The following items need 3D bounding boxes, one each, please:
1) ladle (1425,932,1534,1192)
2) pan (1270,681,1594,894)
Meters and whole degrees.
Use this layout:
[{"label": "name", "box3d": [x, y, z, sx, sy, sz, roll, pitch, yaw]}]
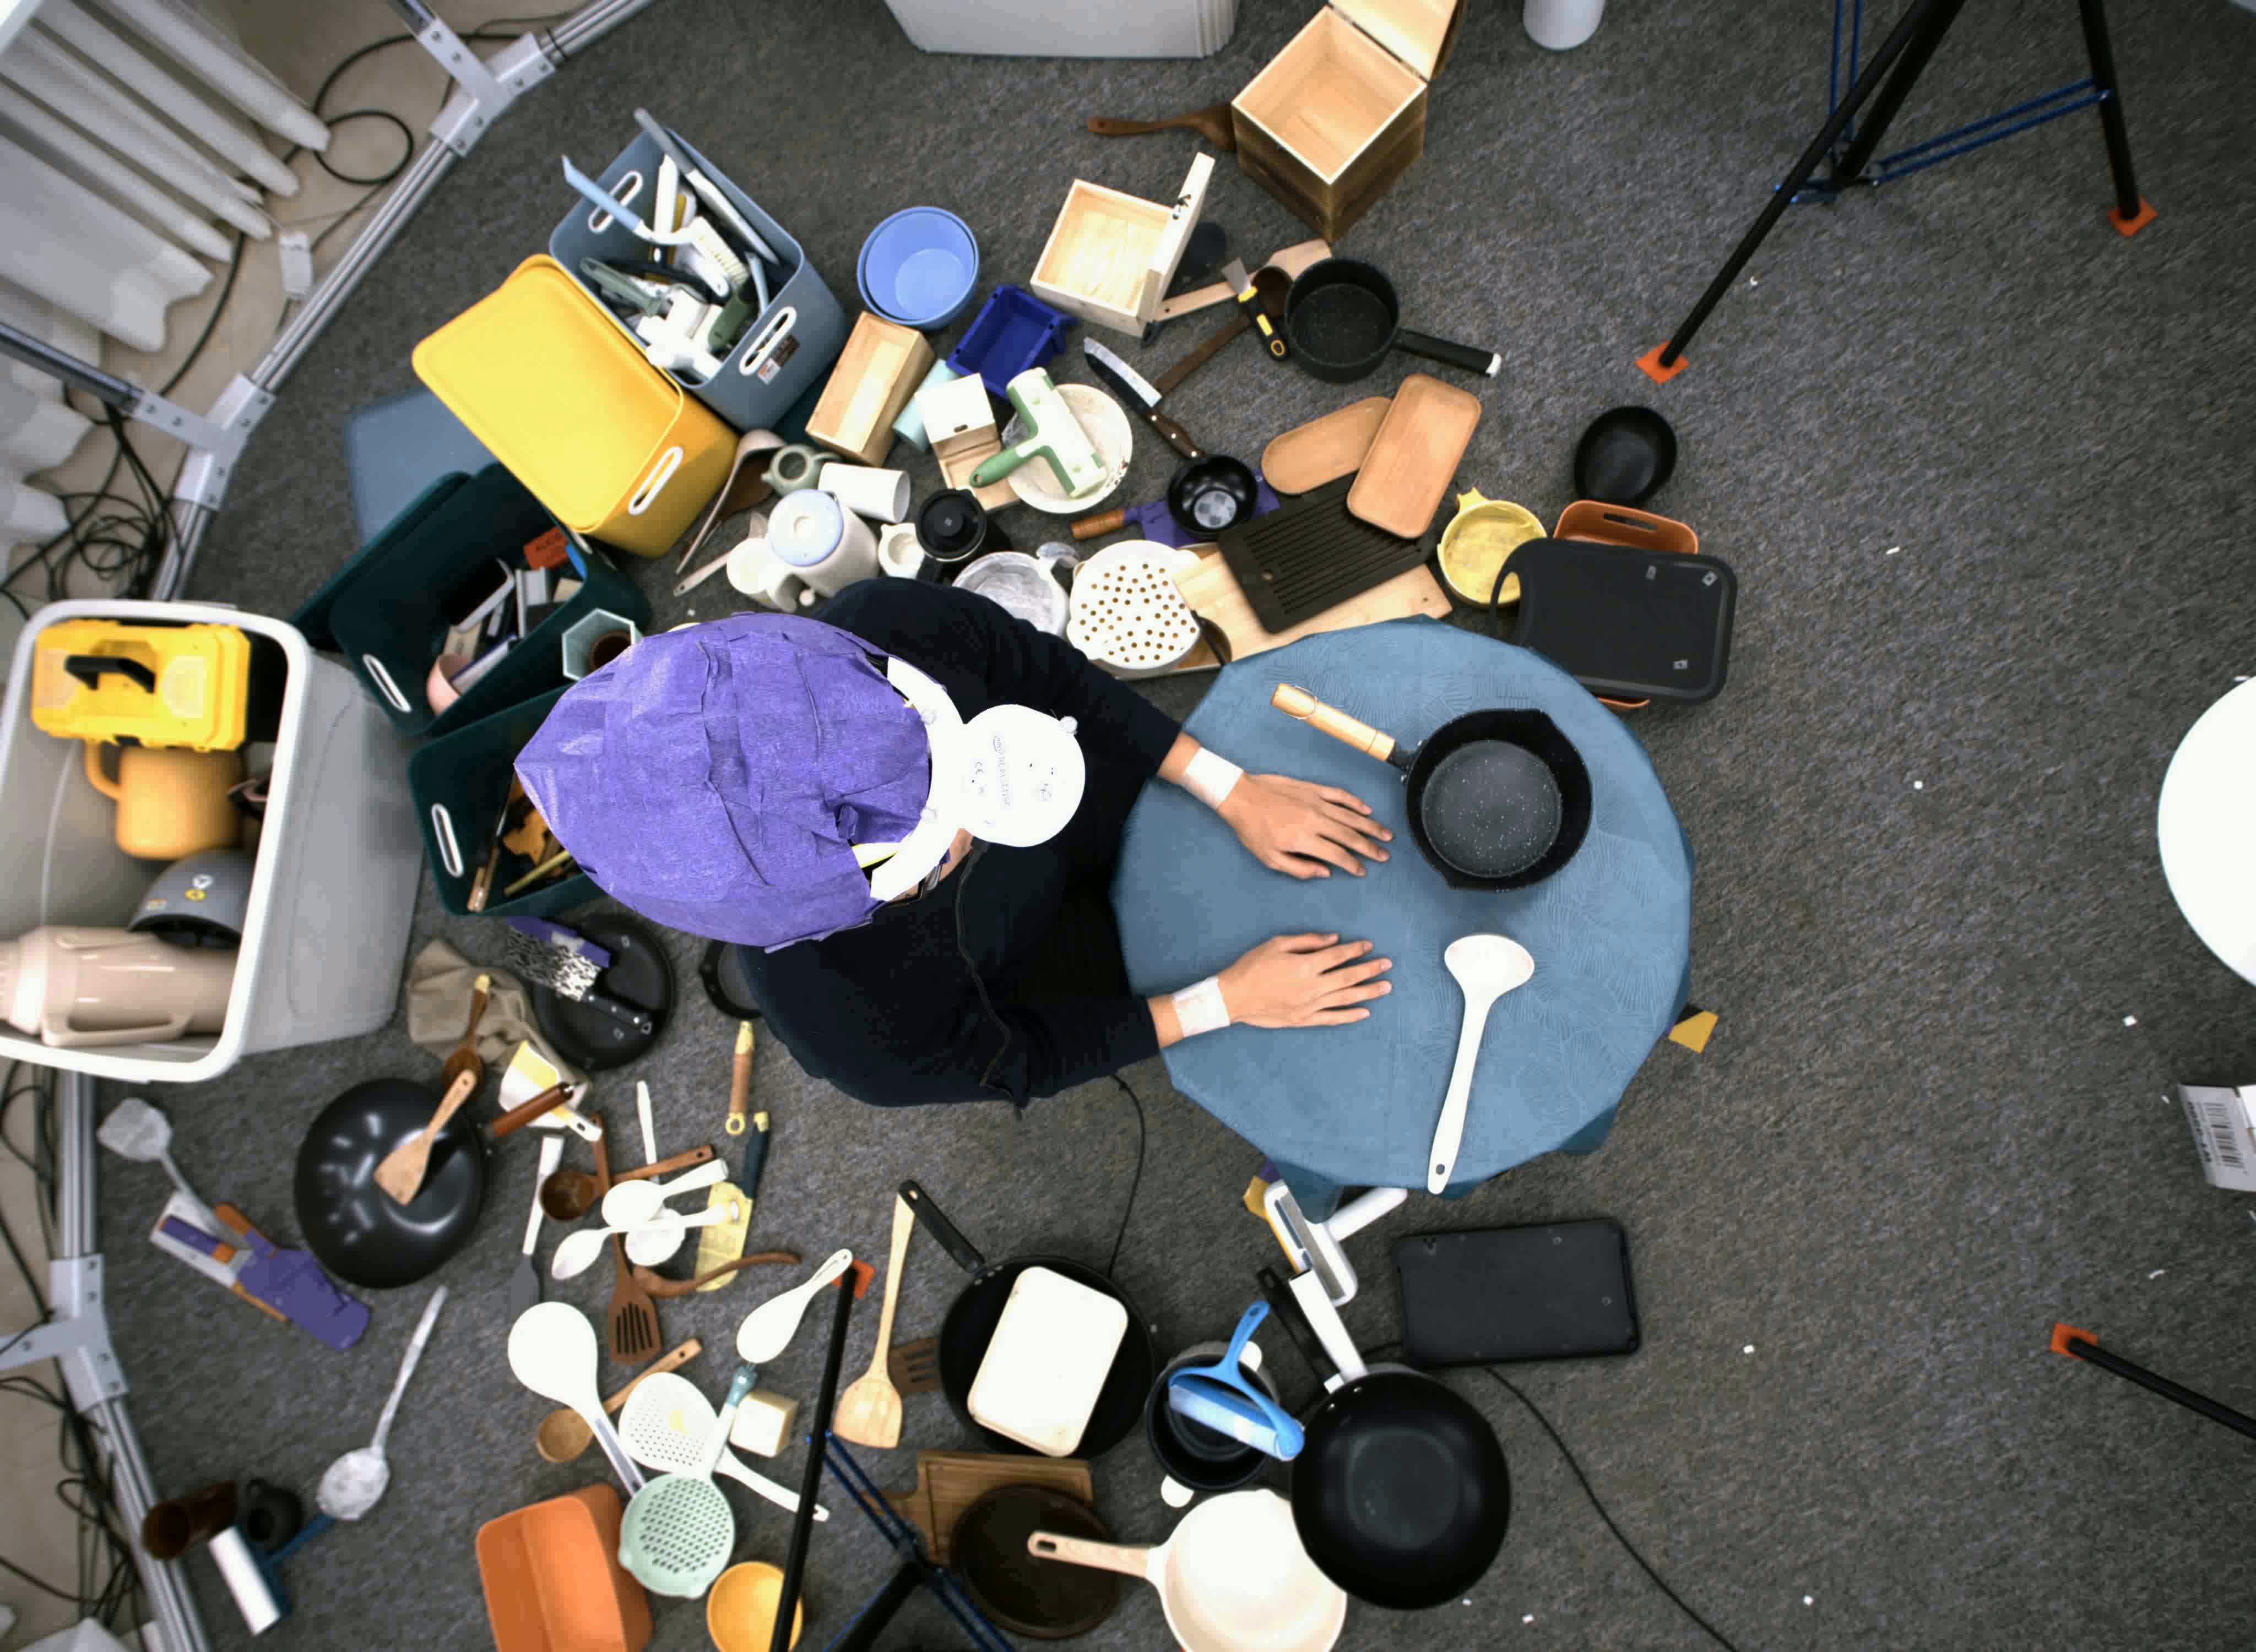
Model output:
[{"label": "ladle", "box3d": [0.344, 0.241, 1.403, 0.089, 0.069, 0.274, 13, 90, 4]}, {"label": "pan", "box3d": [0.302, -0.058, 1.406, 0.342, 0.108, 0.208, 25, 92, 10]}]
